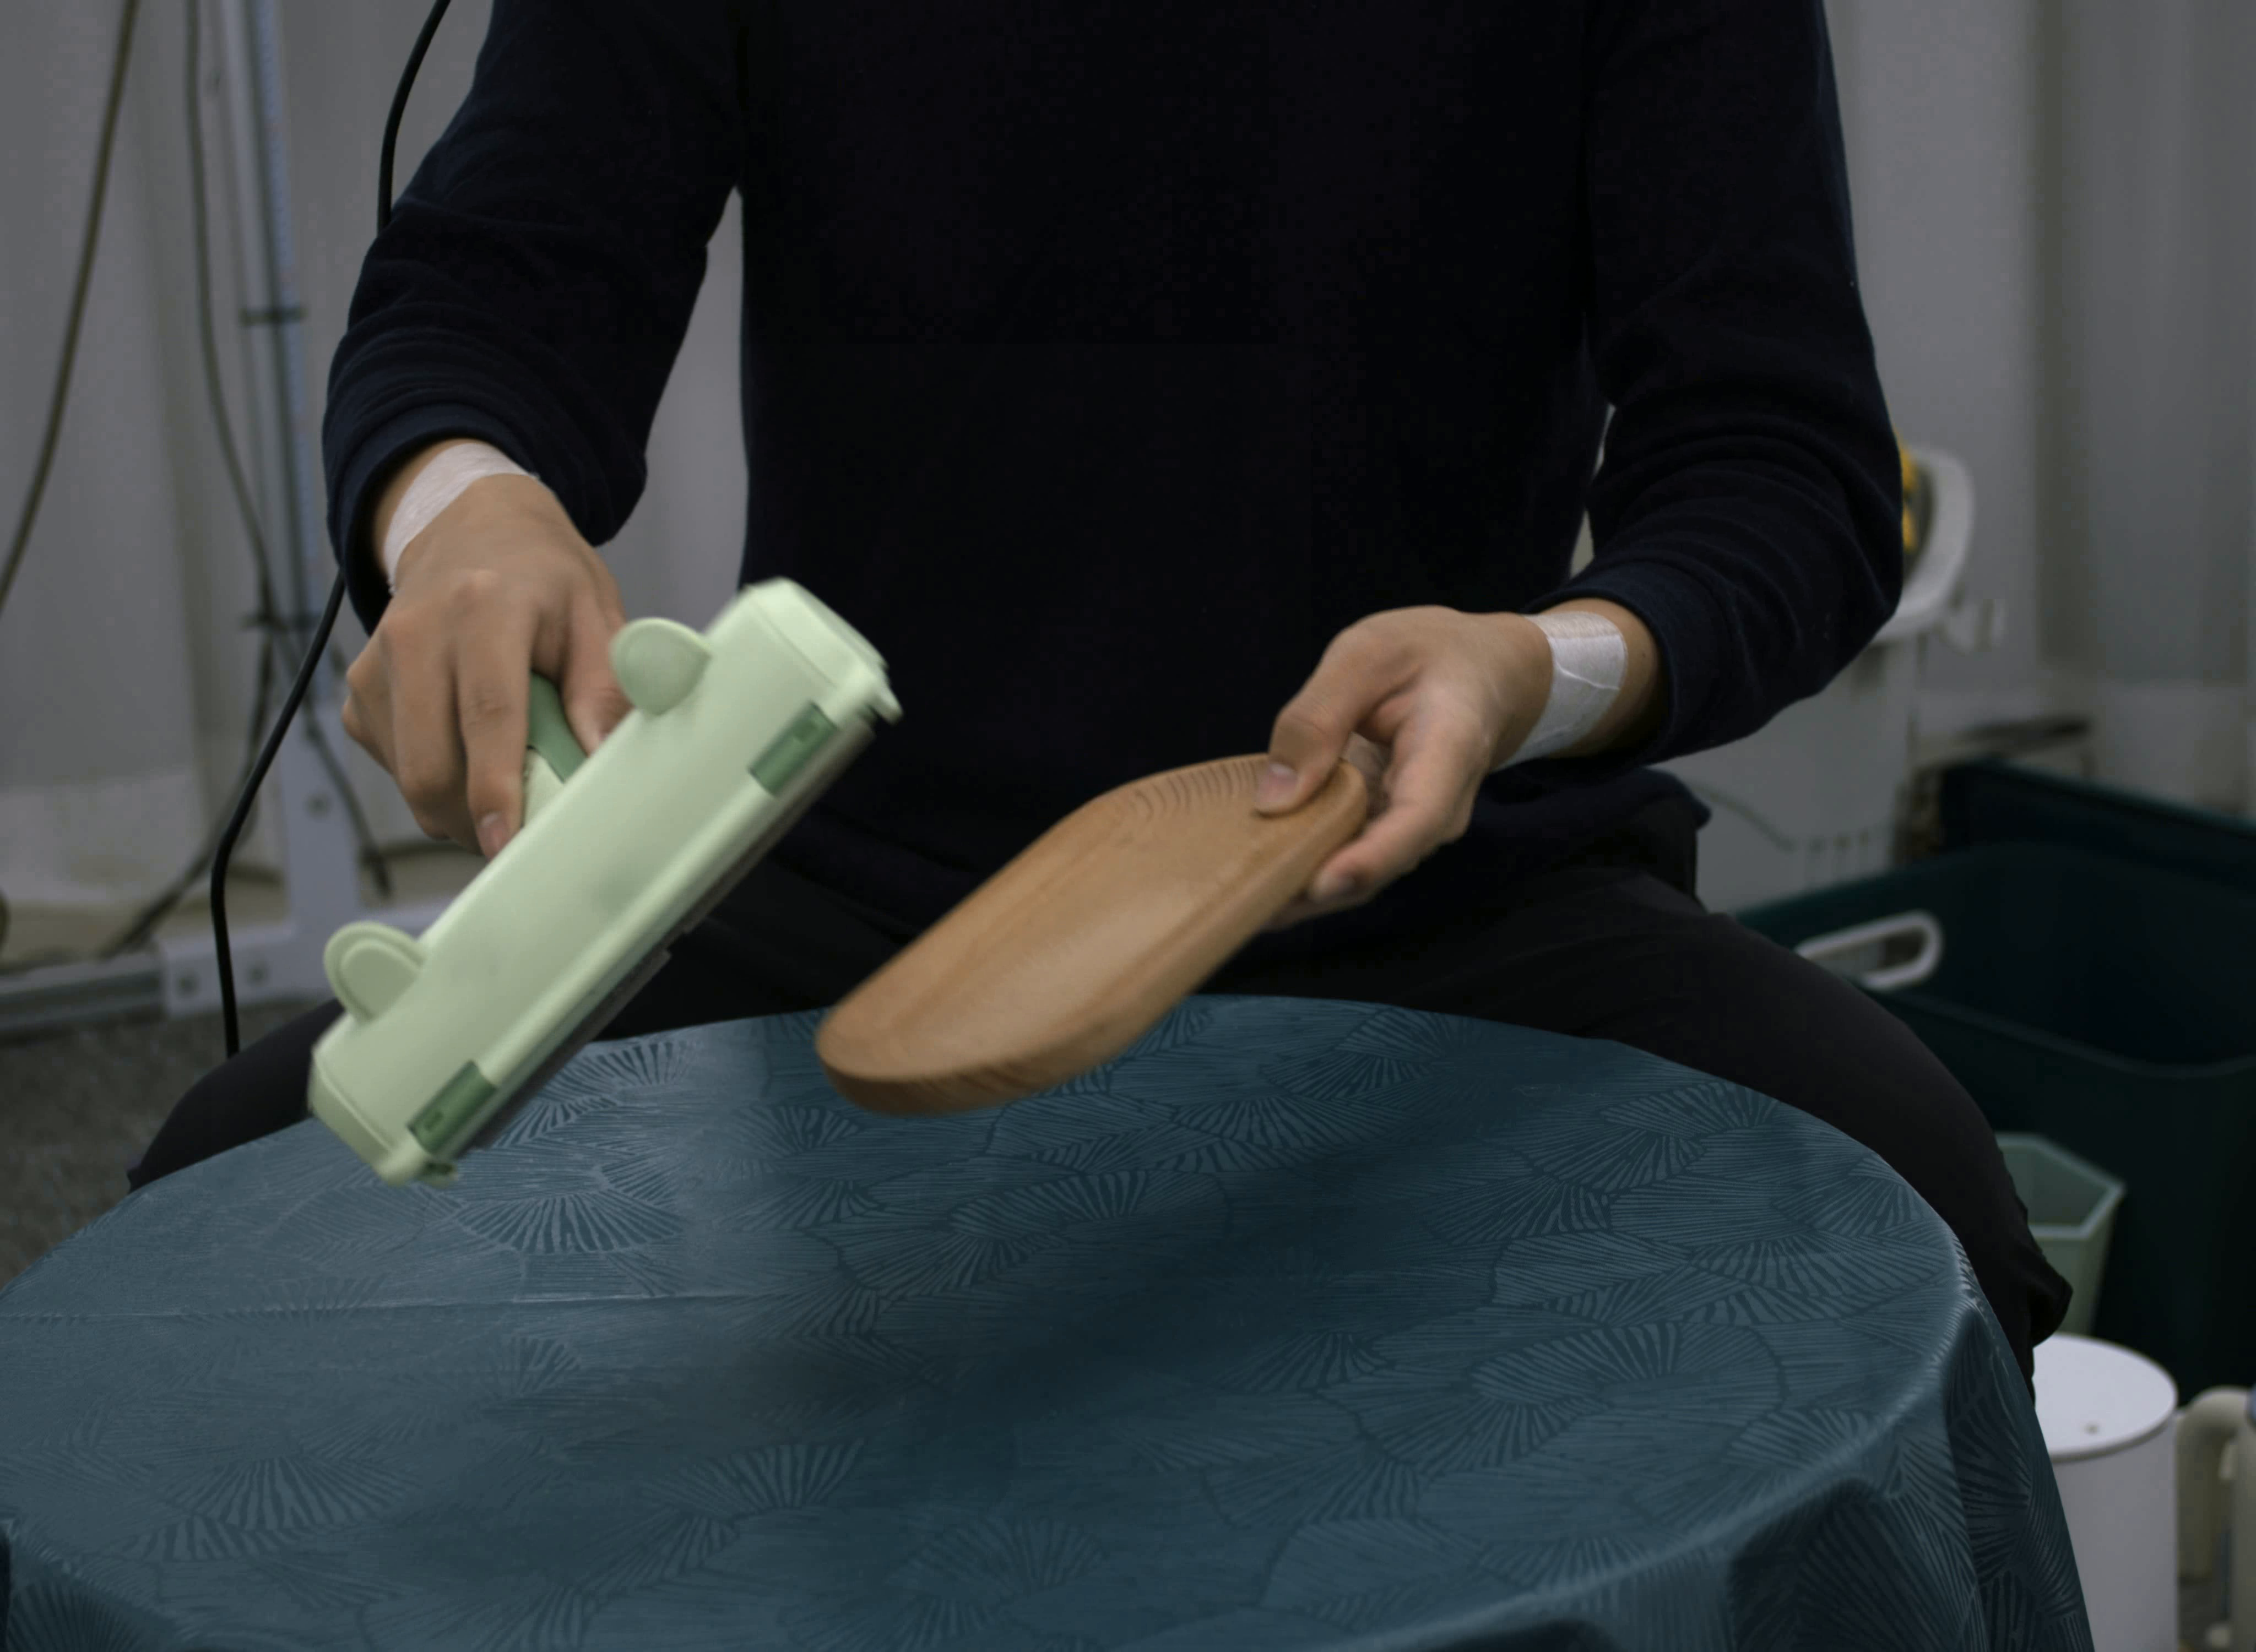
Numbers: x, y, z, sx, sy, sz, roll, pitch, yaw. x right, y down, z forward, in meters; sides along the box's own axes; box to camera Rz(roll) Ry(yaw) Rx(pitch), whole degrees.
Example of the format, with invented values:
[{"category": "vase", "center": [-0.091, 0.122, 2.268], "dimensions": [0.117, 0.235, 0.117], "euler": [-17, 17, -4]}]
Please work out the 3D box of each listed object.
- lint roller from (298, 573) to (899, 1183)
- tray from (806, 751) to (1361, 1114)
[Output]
[{"category": "lint roller", "center": [-0.175, -0.018, 1.541], "dimensions": [0.081, 0.198, 0.186], "euler": [43, 4, -46]}, {"category": "tray", "center": [-0.010, 0.029, 1.594], "dimensions": [0.102, 0.020, 0.232], "euler": [-4, 22, 32]}]
